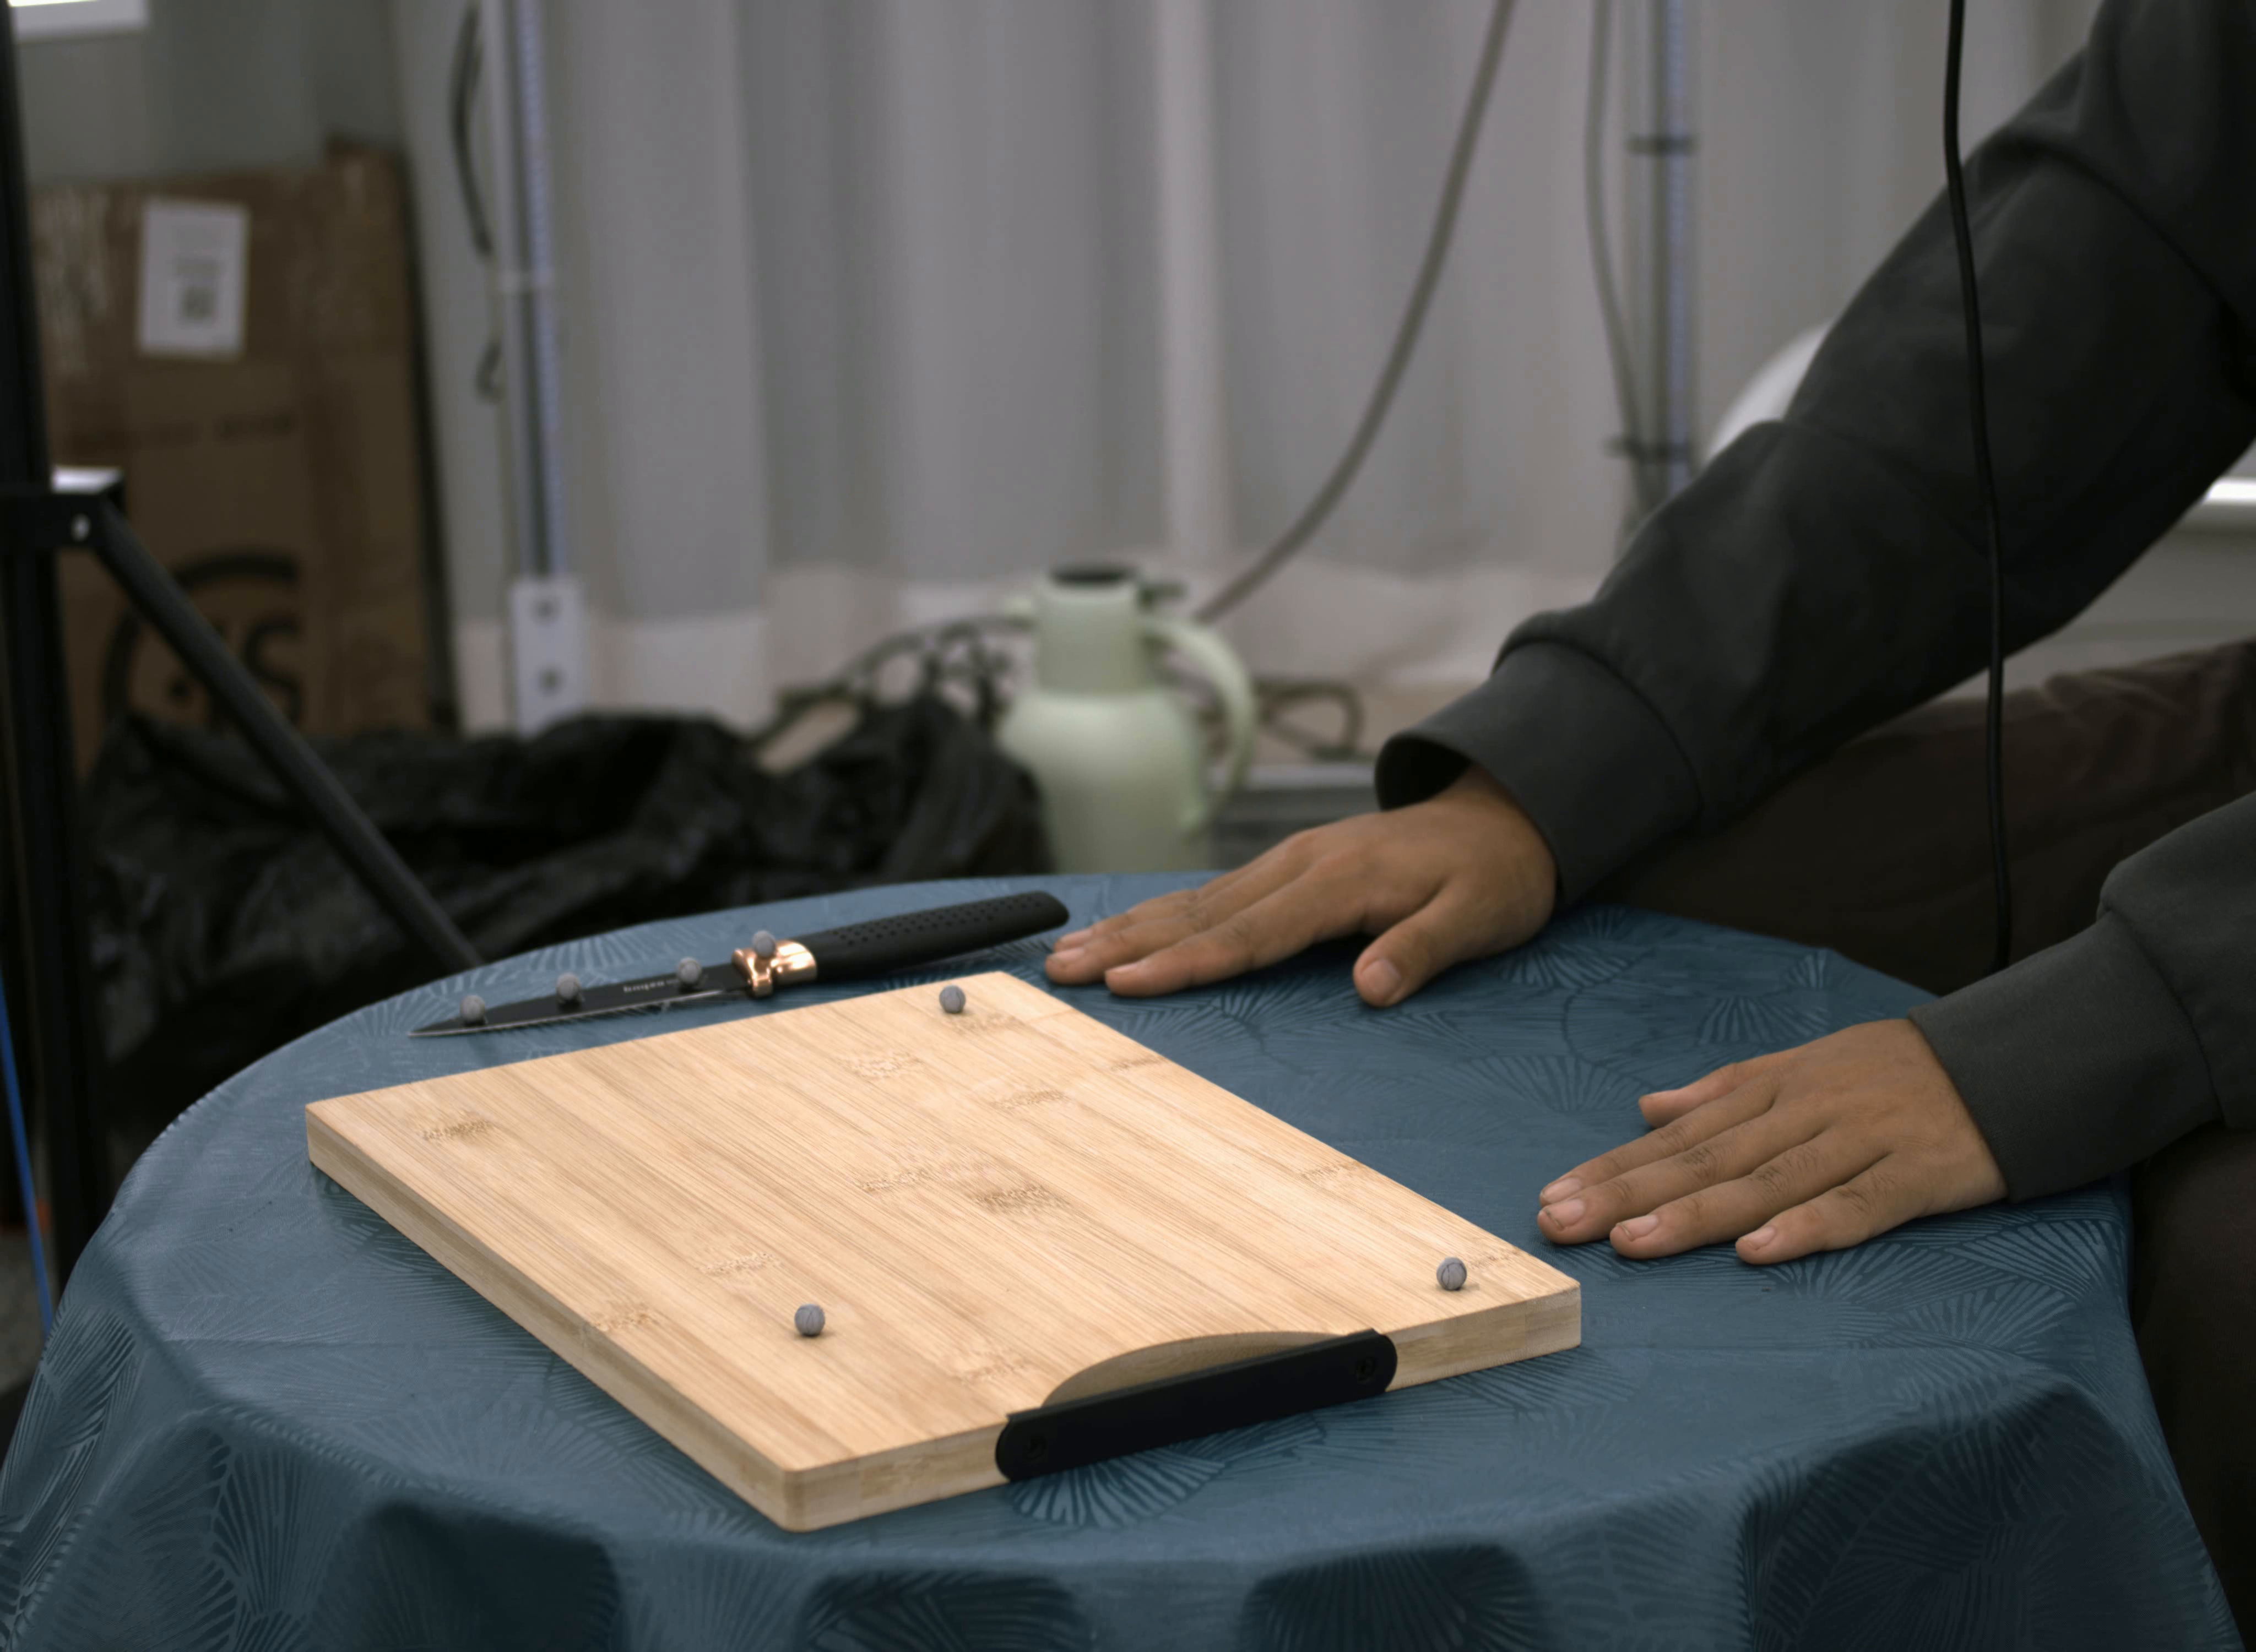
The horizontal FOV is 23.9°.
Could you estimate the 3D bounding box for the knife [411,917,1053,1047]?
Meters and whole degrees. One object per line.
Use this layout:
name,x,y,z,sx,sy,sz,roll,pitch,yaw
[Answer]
knife,-0.128,0.052,1.754,0.221,0.017,0.026,-8,22,-17

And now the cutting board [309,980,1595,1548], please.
cutting board,-0.060,0.115,1.513,0.245,0.023,0.356,-11,18,-27
